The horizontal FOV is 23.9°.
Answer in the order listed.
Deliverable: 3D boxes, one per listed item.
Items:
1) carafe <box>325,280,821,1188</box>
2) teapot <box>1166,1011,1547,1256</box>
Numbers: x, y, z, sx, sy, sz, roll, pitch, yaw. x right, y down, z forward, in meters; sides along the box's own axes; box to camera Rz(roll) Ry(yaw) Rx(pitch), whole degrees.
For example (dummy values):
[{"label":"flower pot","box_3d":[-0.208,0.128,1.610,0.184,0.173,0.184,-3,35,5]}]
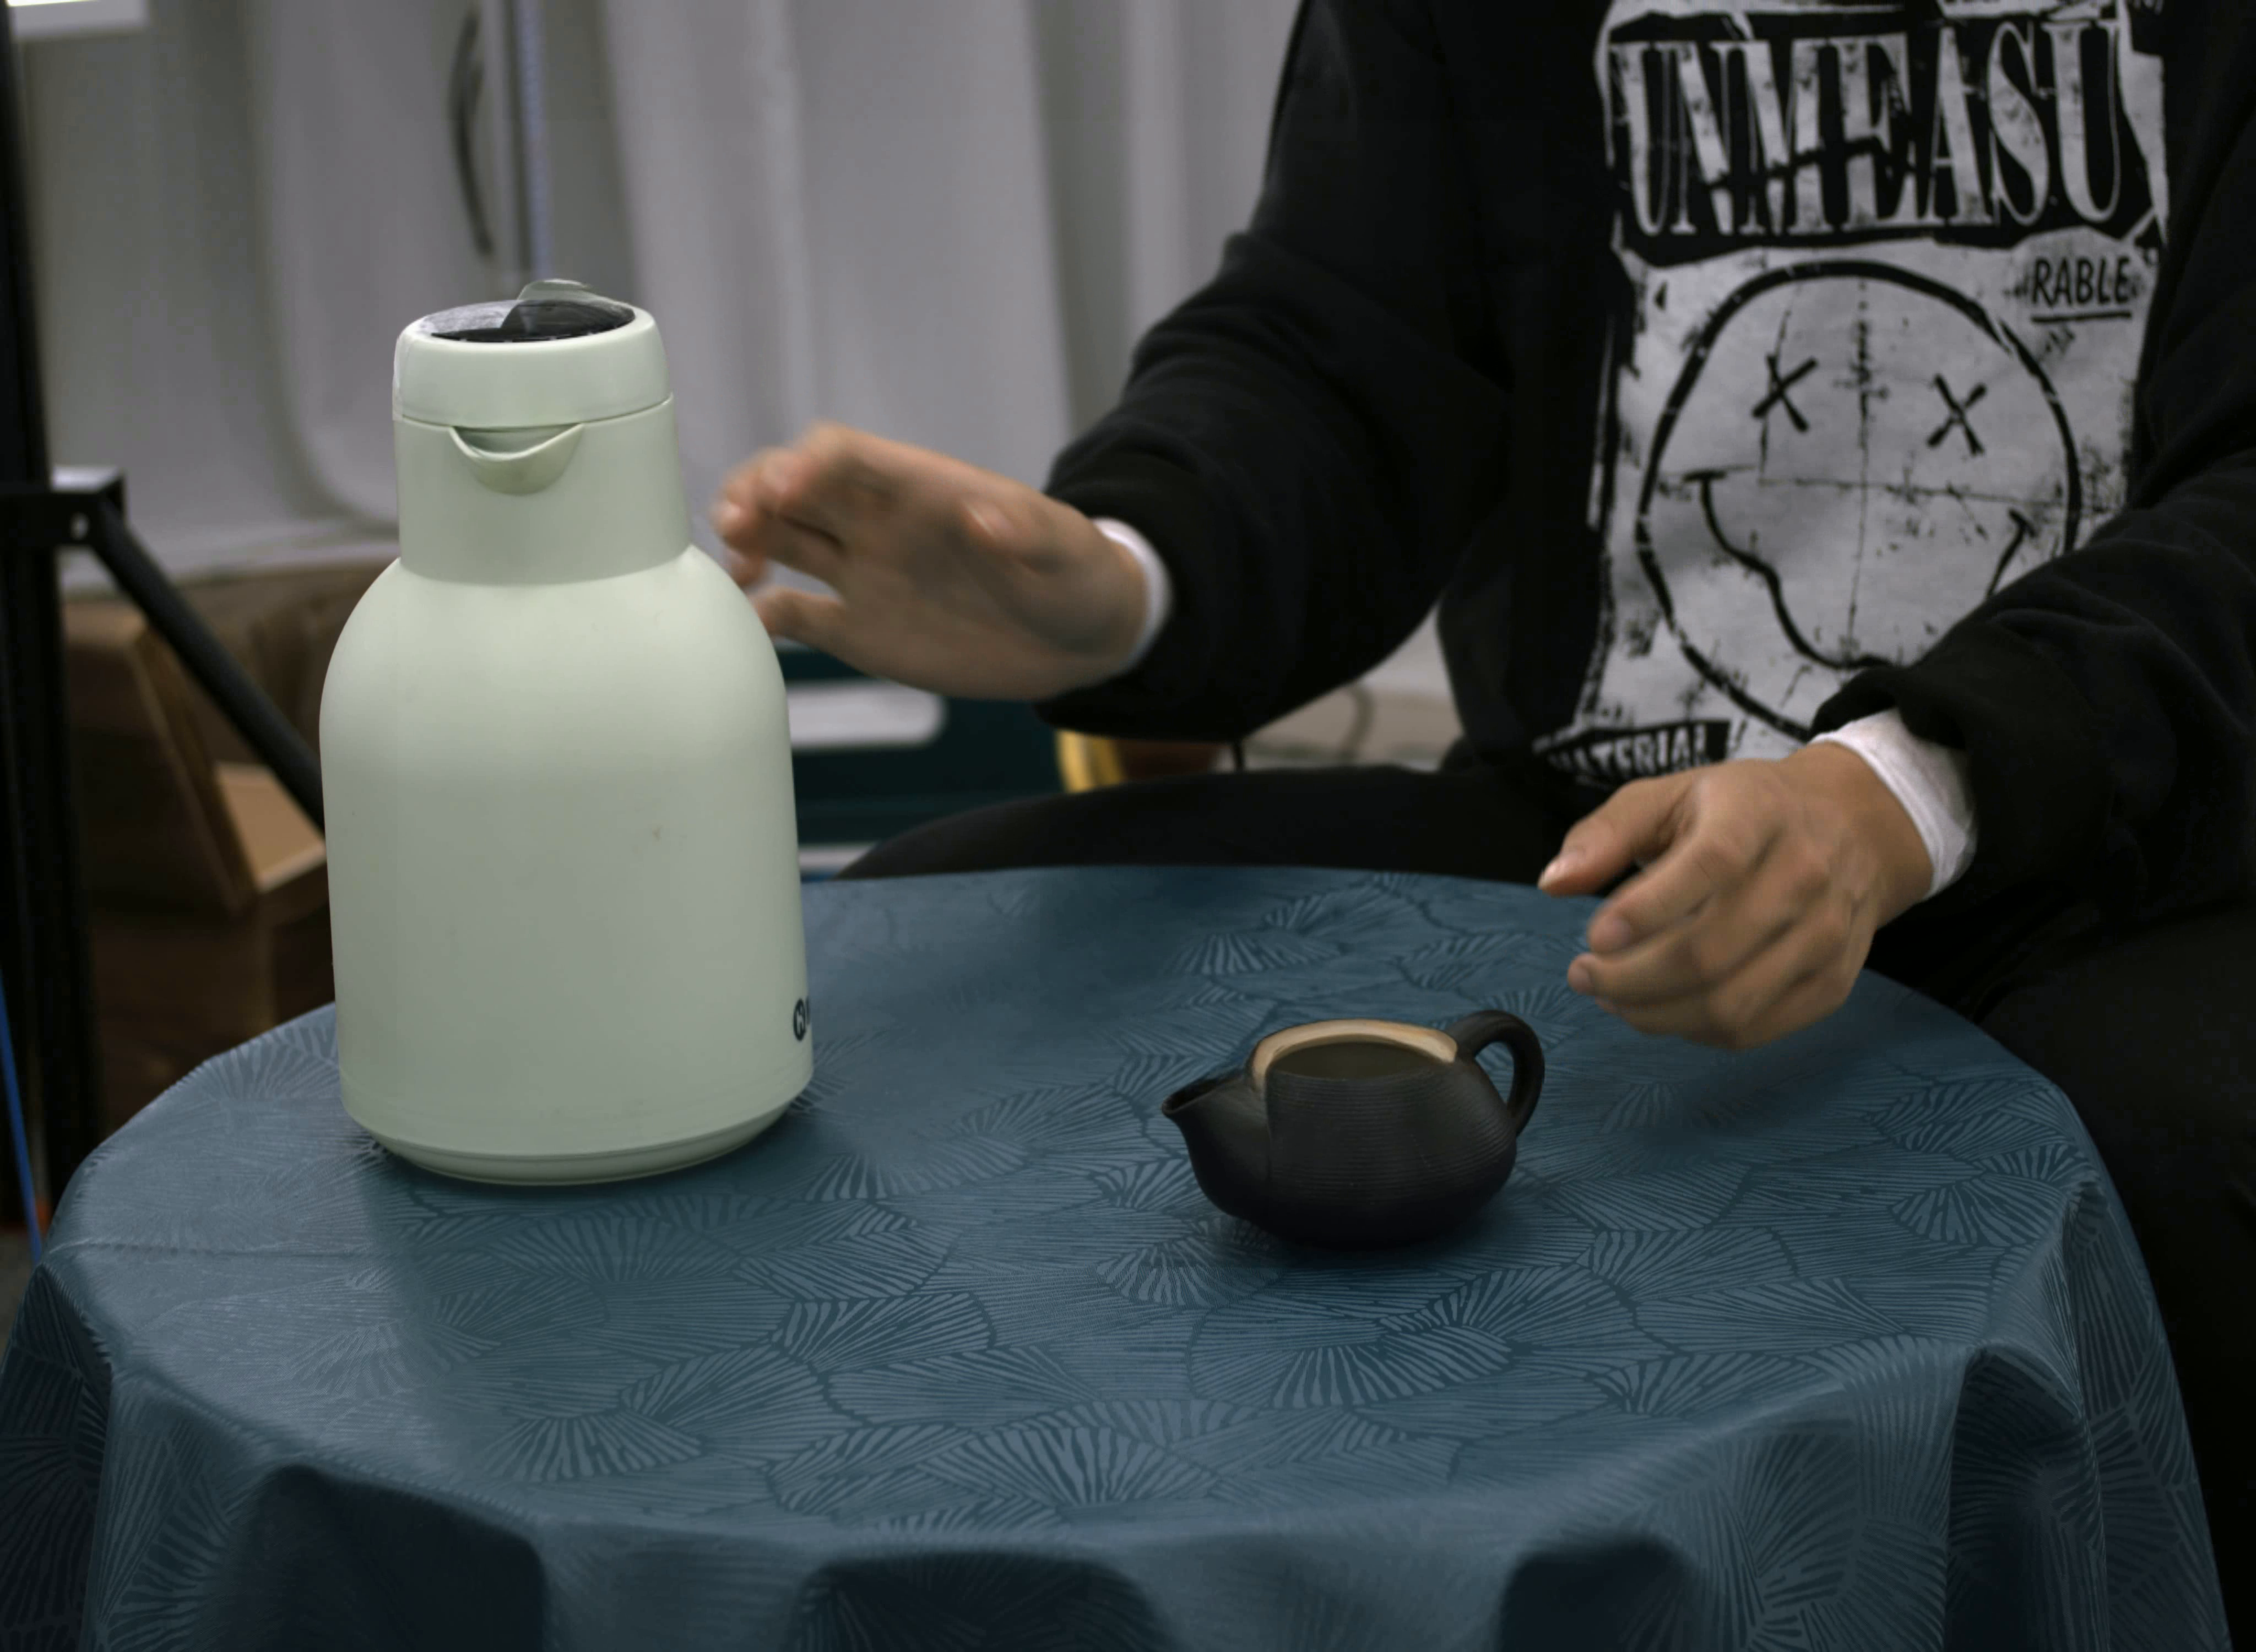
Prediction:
[{"label":"carafe","box_3d":[-0.171,-0.033,1.624,0.144,0.257,0.187,-3,12,3]},{"label":"teapot","box_3d":[0.067,0.089,1.513,0.130,0.053,0.093,-13,20,-31]}]
